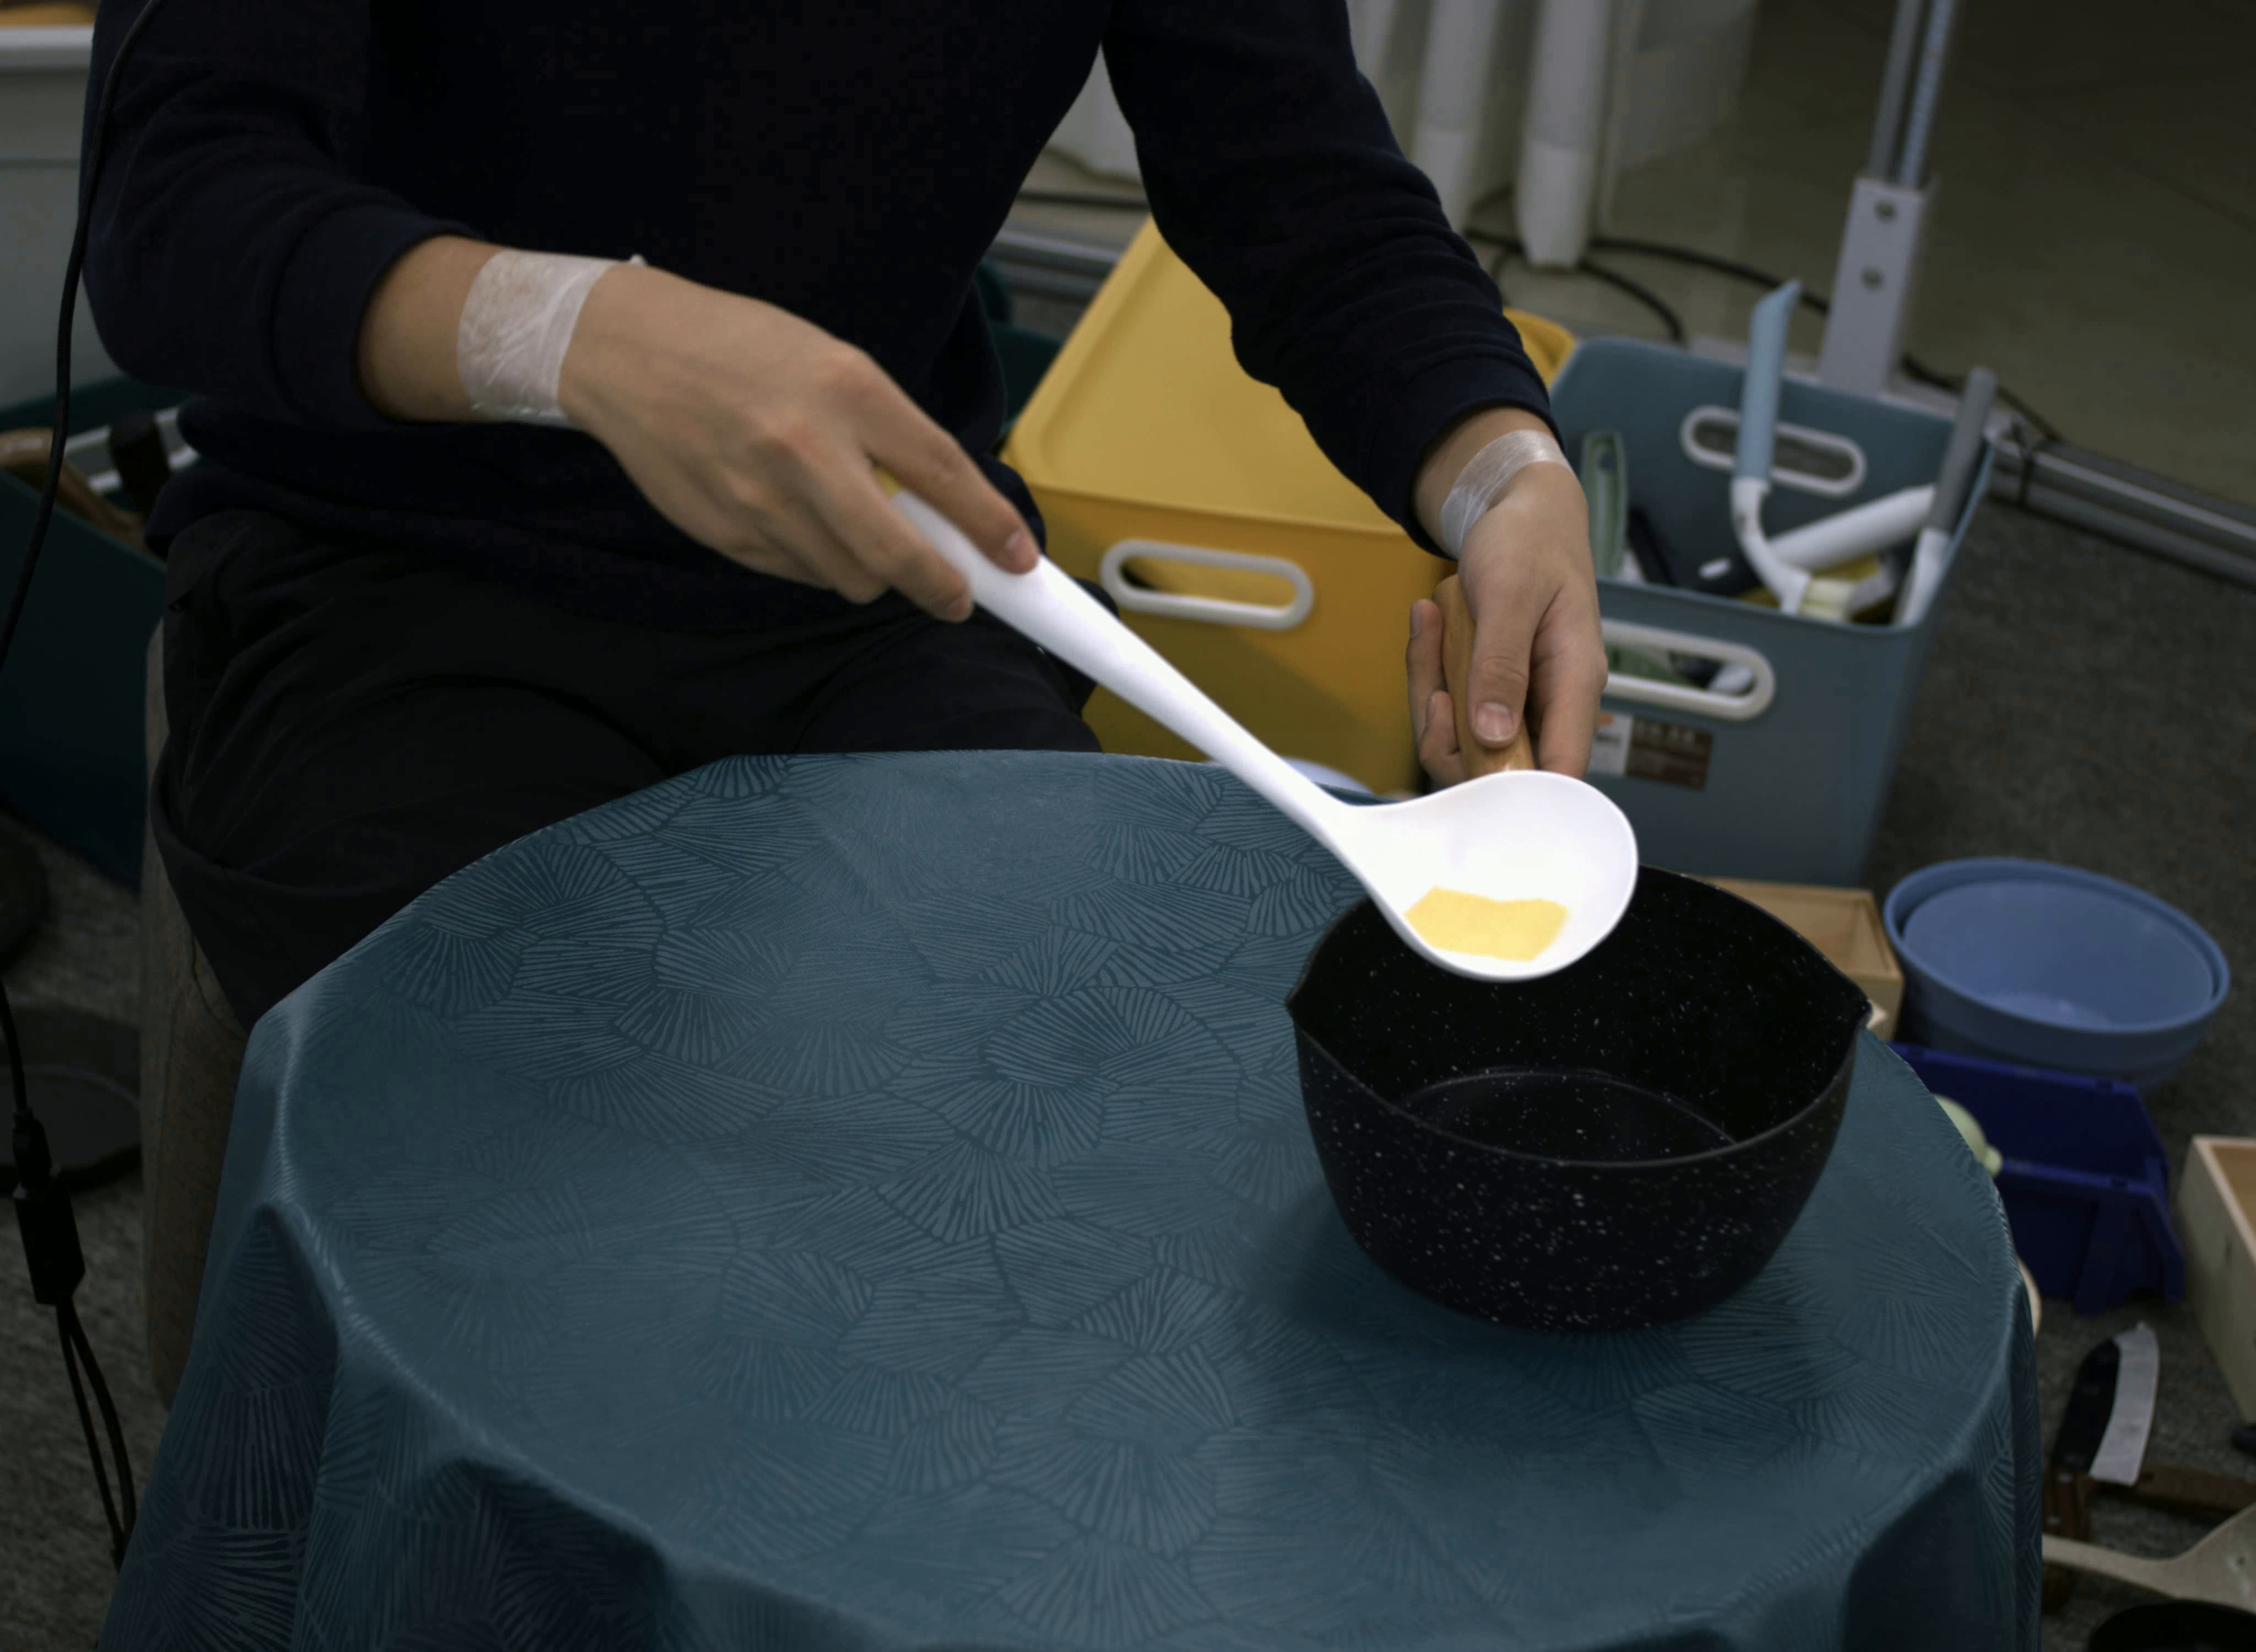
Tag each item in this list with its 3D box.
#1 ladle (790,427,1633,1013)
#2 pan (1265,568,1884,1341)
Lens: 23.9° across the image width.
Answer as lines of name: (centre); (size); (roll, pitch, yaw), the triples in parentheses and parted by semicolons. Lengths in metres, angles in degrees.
ladle: (0.025, -0.039, 1.703); (0.291, 0.070, 0.090); (35, 59, -11)
pan: (0.138, 0.041, 1.848); (0.206, 0.108, 0.345); (-3, 34, -7)
